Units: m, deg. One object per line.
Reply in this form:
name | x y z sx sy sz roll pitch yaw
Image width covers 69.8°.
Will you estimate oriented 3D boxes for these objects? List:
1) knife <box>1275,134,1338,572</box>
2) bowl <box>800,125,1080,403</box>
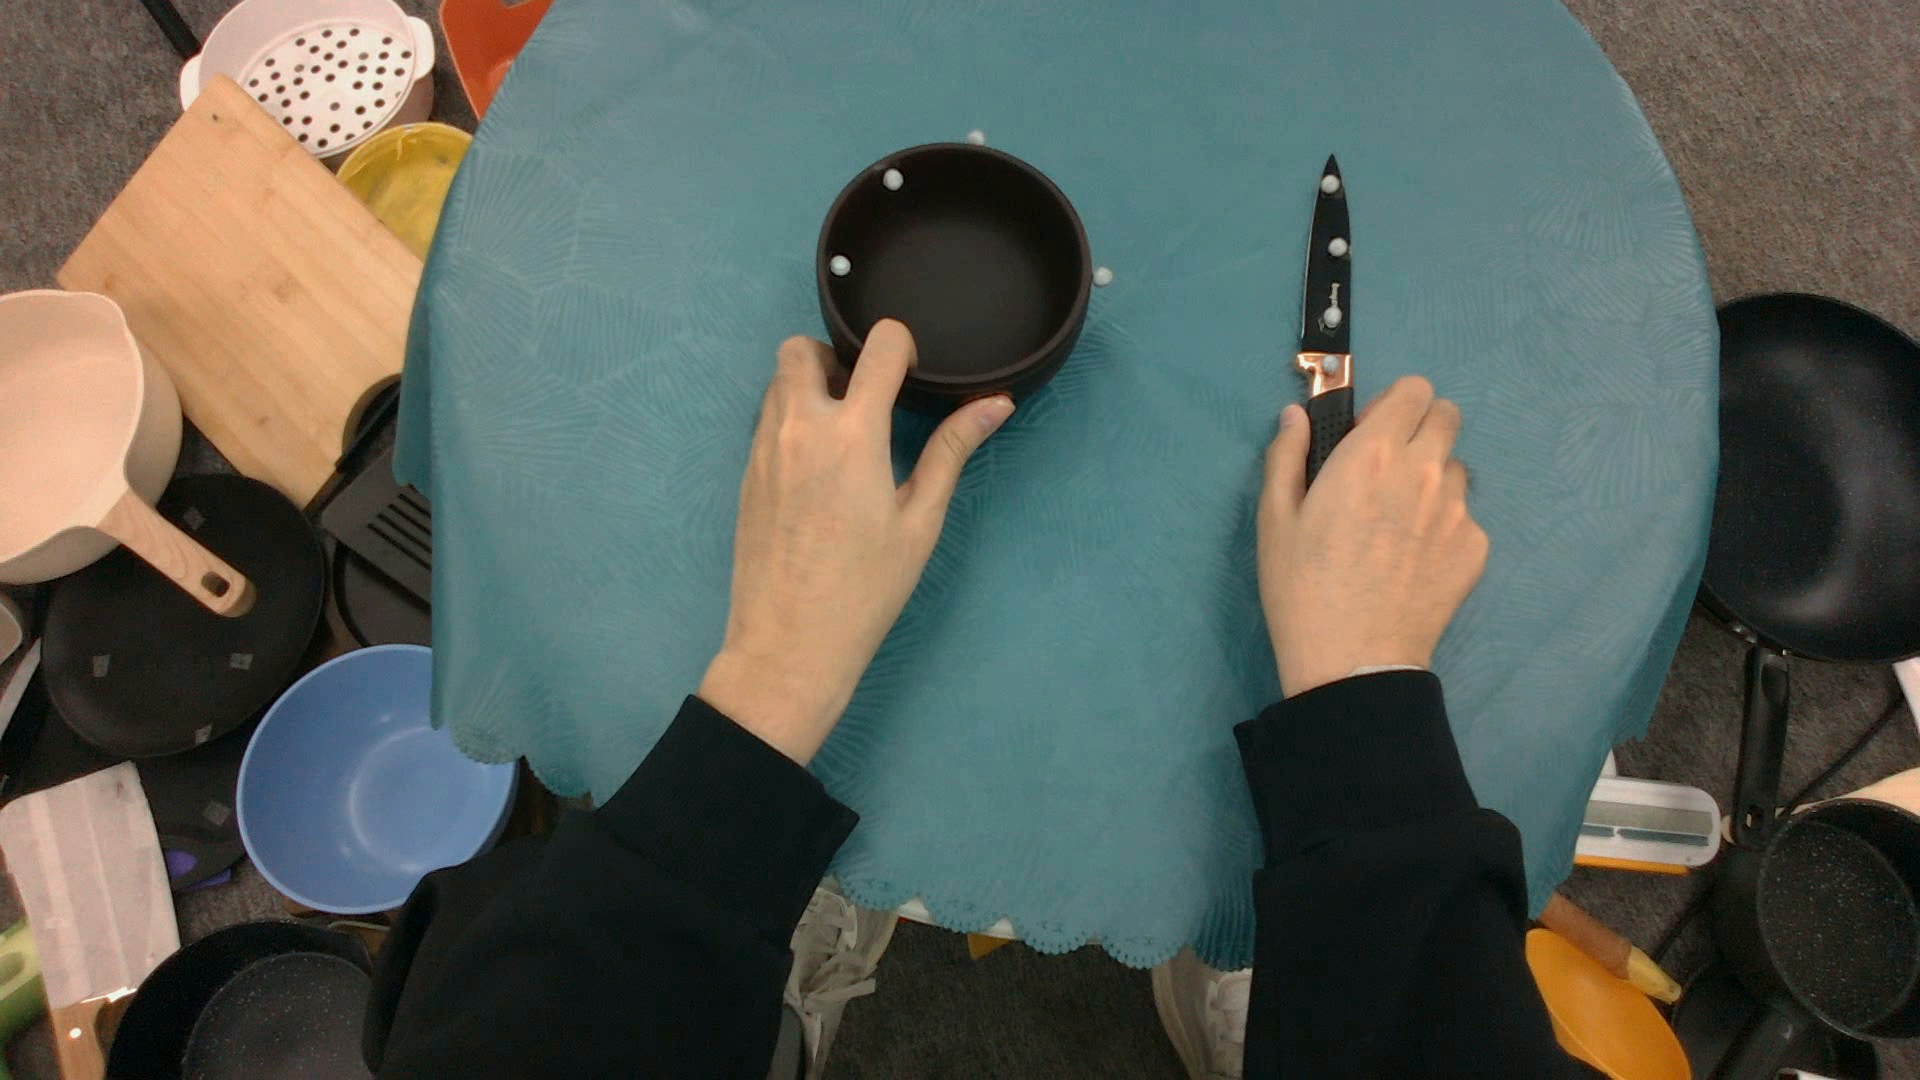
knife | 0.159 -0.092 0.633 0.026 0.017 0.226 0 69 8
bowl | -0.008 -0.113 0.601 0.118 0.069 0.118 0 73 0
